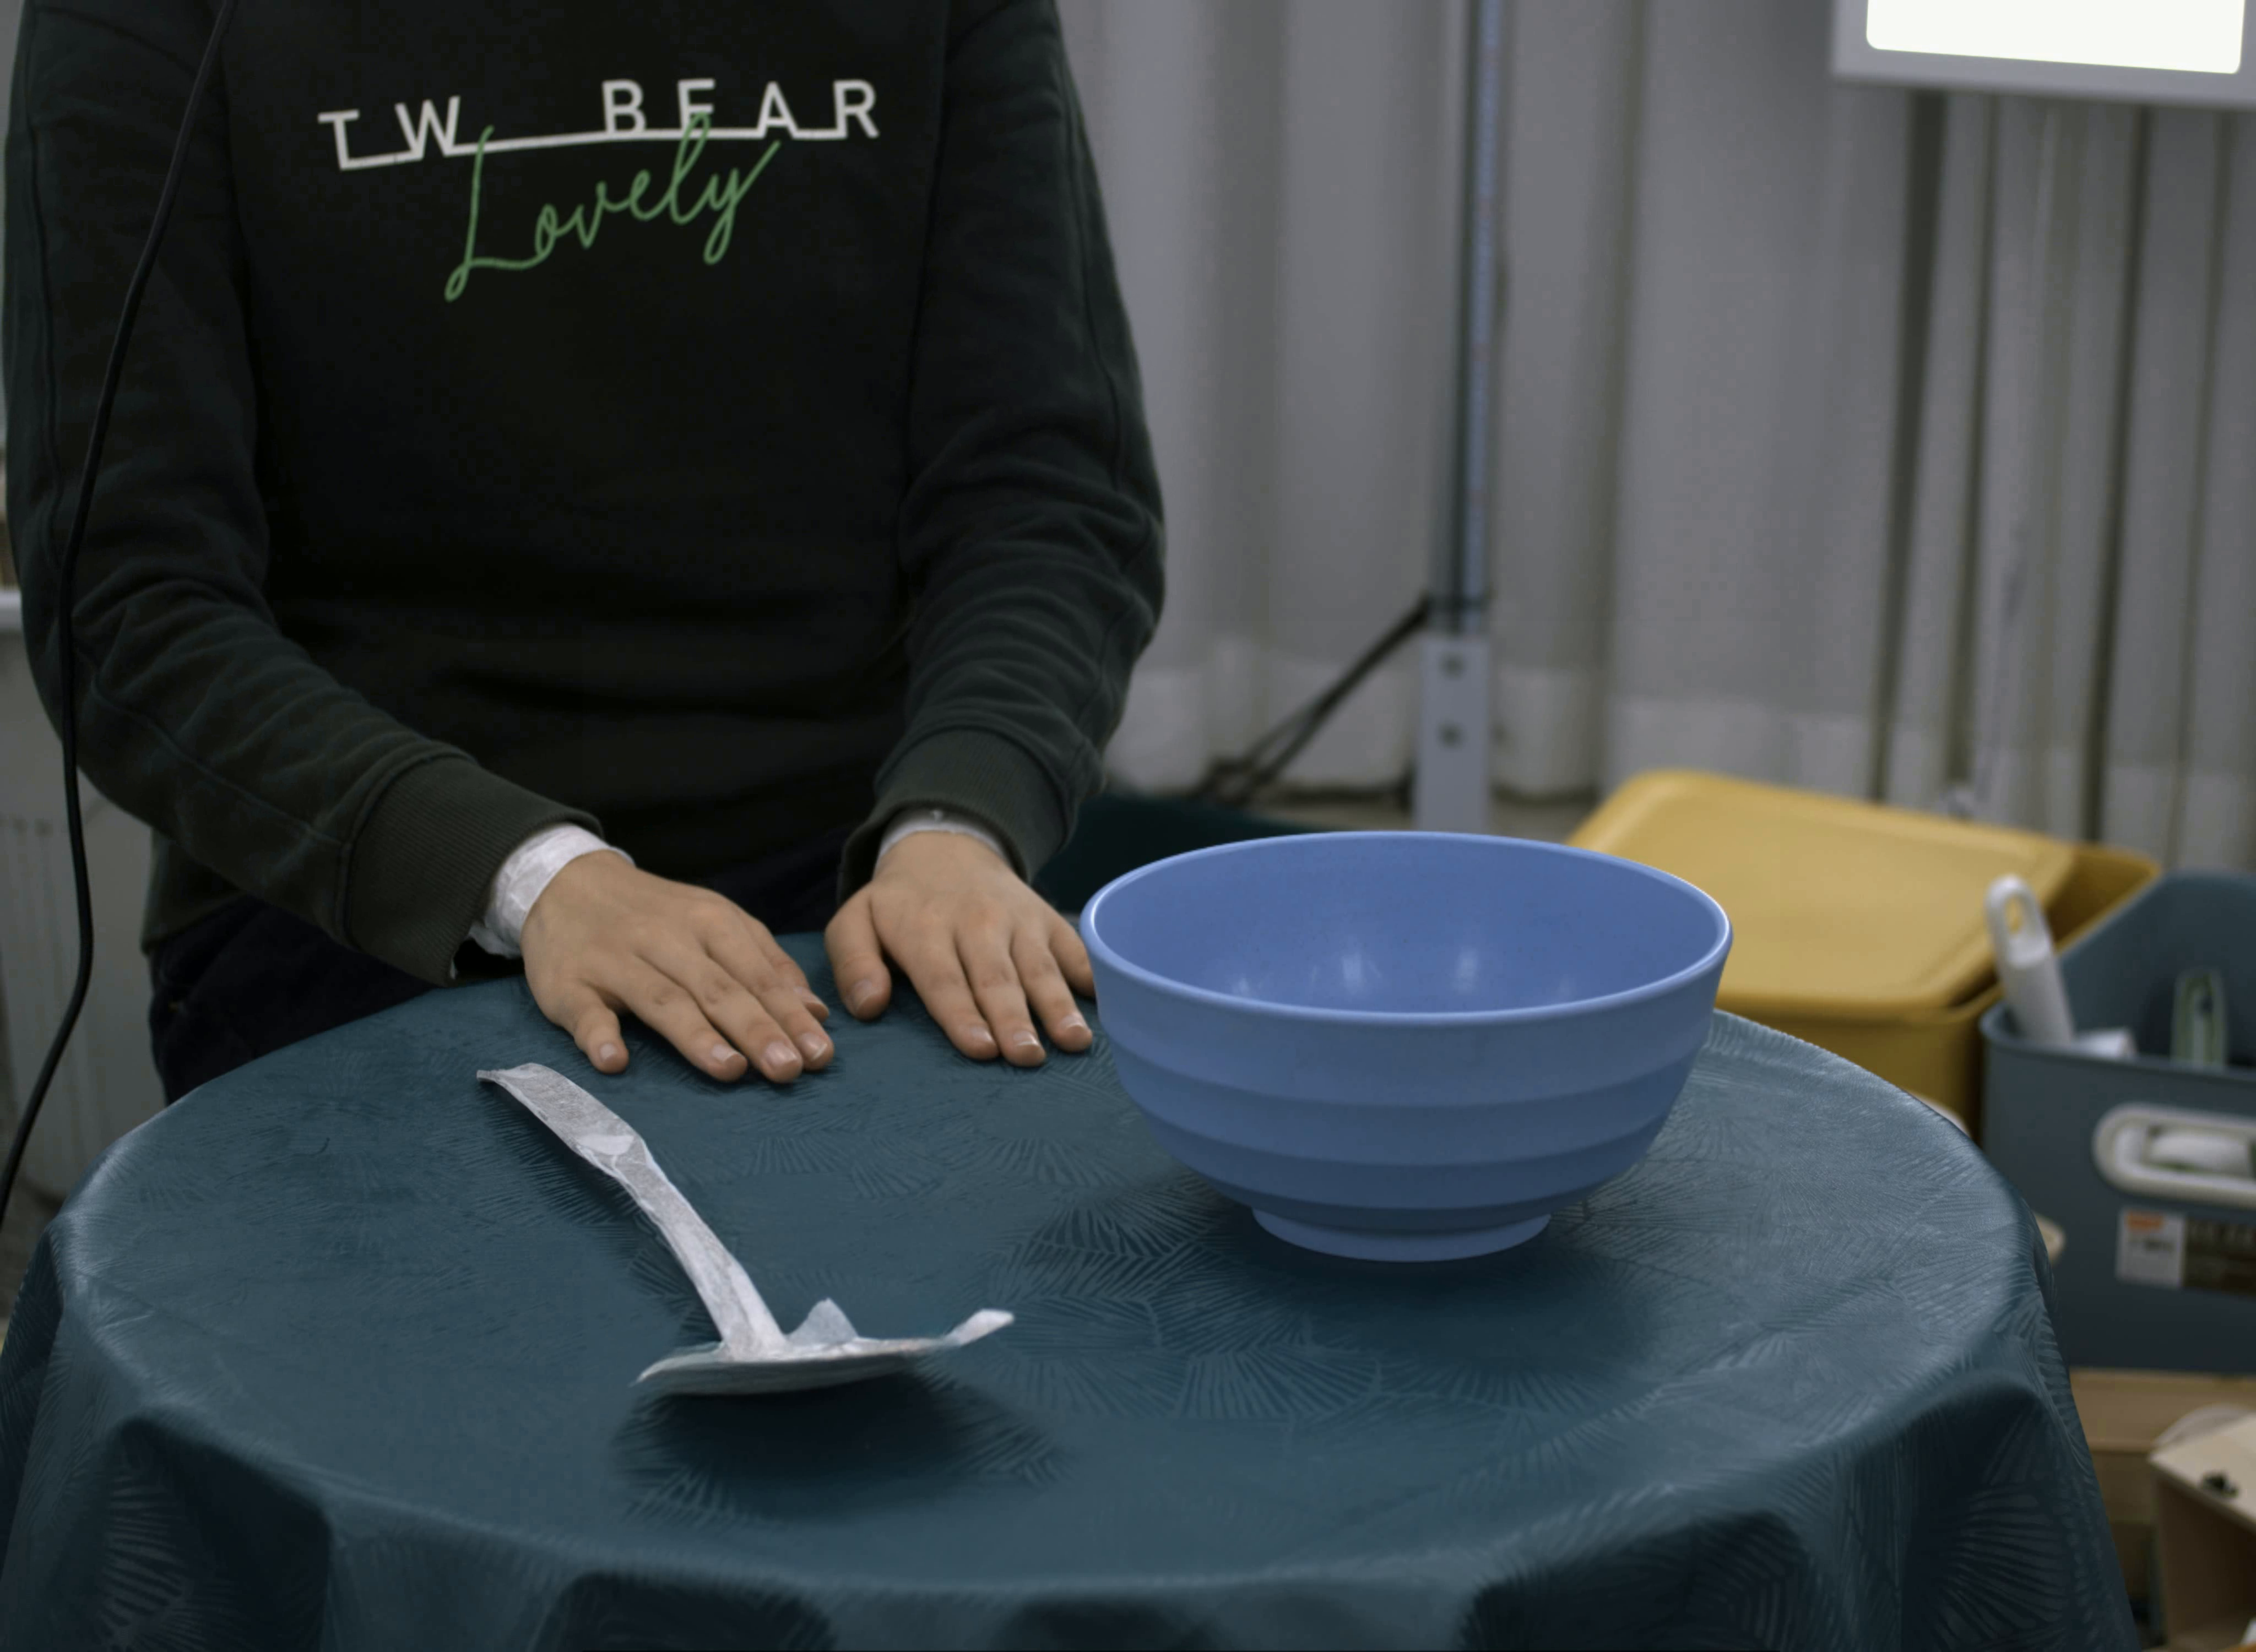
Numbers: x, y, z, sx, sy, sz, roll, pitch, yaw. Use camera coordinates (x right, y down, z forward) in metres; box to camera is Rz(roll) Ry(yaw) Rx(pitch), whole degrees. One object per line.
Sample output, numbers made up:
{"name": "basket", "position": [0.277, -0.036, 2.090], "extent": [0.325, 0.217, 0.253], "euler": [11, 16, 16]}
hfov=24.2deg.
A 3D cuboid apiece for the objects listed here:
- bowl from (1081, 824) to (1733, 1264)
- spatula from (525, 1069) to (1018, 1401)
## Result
{"name": "bowl", "position": [0.084, 0.072, 1.597], "extent": [0.196, 0.096, 0.195], "euler": [0, 18, 1]}
{"name": "spatula", "position": [-0.131, 0.111, 1.555], "extent": [0.099, 0.045, 0.361], "euler": [-7, 18, -19]}
